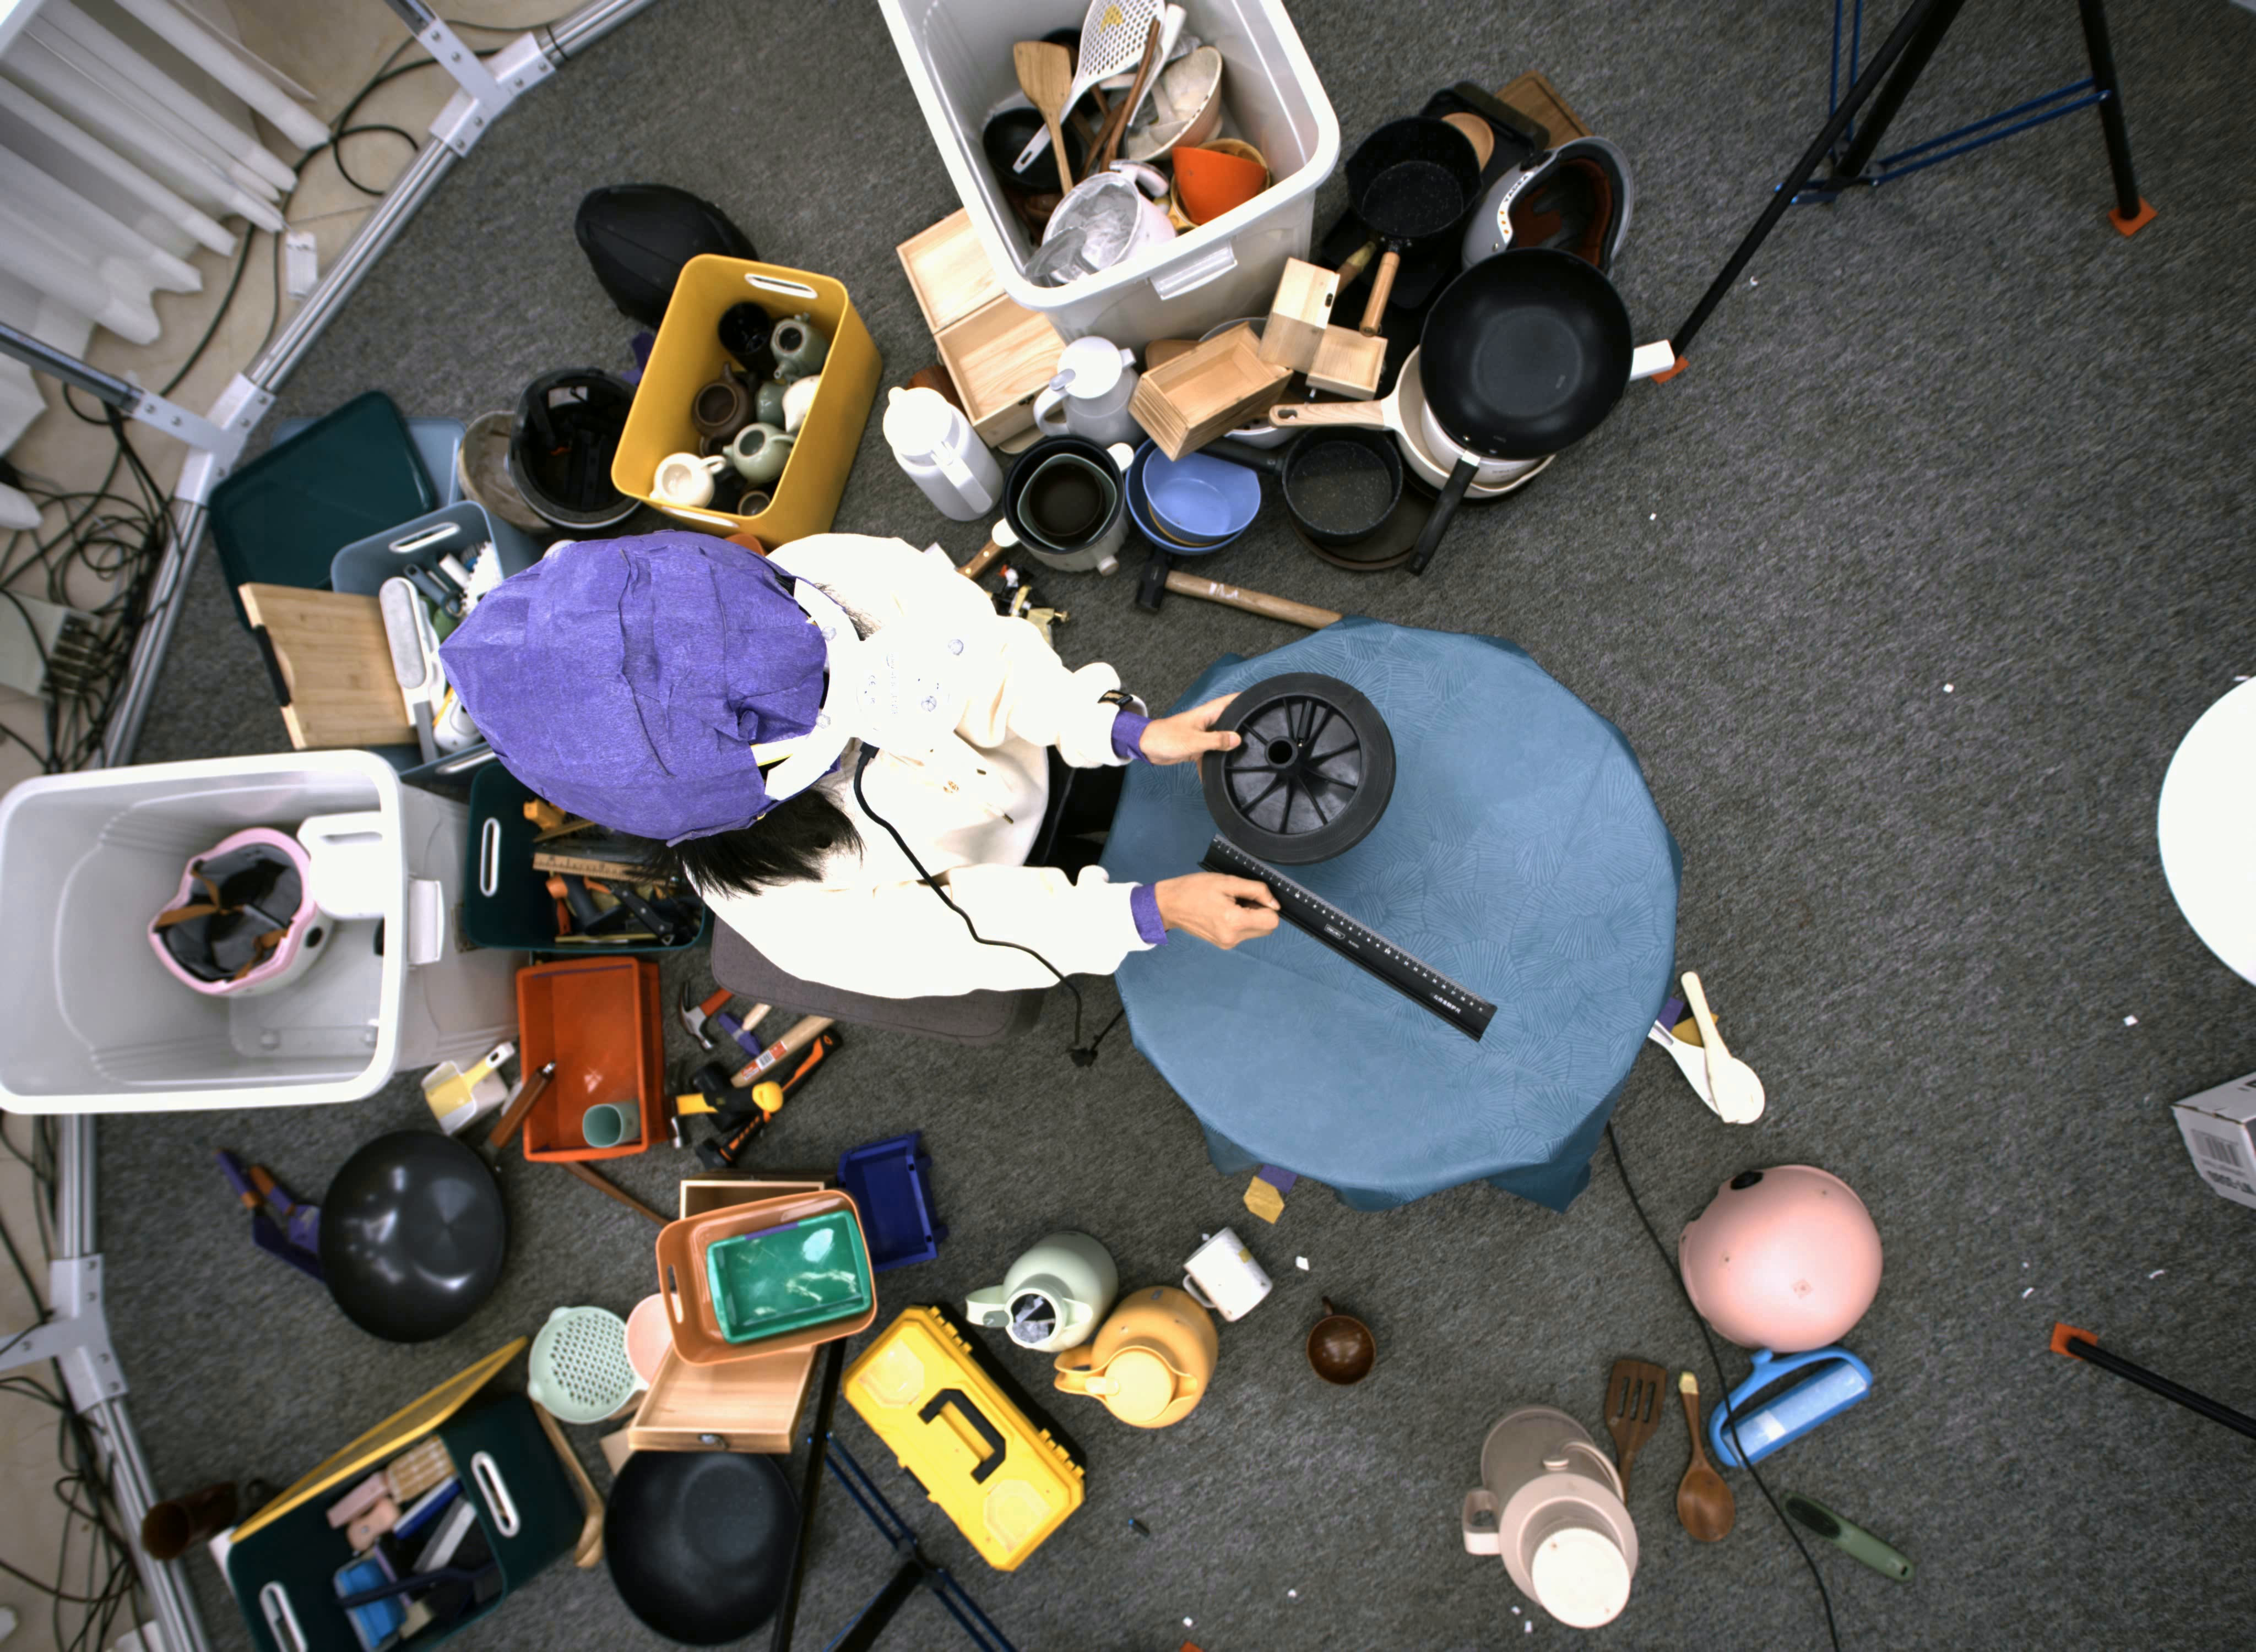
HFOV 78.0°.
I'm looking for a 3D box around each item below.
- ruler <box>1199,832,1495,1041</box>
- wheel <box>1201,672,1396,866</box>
[{"bbox_3d":[0.199,0.100,1.286,0.311,0.017,0.040,33,115,19],"label":"ruler"},{"bbox_3d":[0.154,-0.060,1.299,0.189,0.079,0.187,-13,76,19],"label":"wheel"}]
